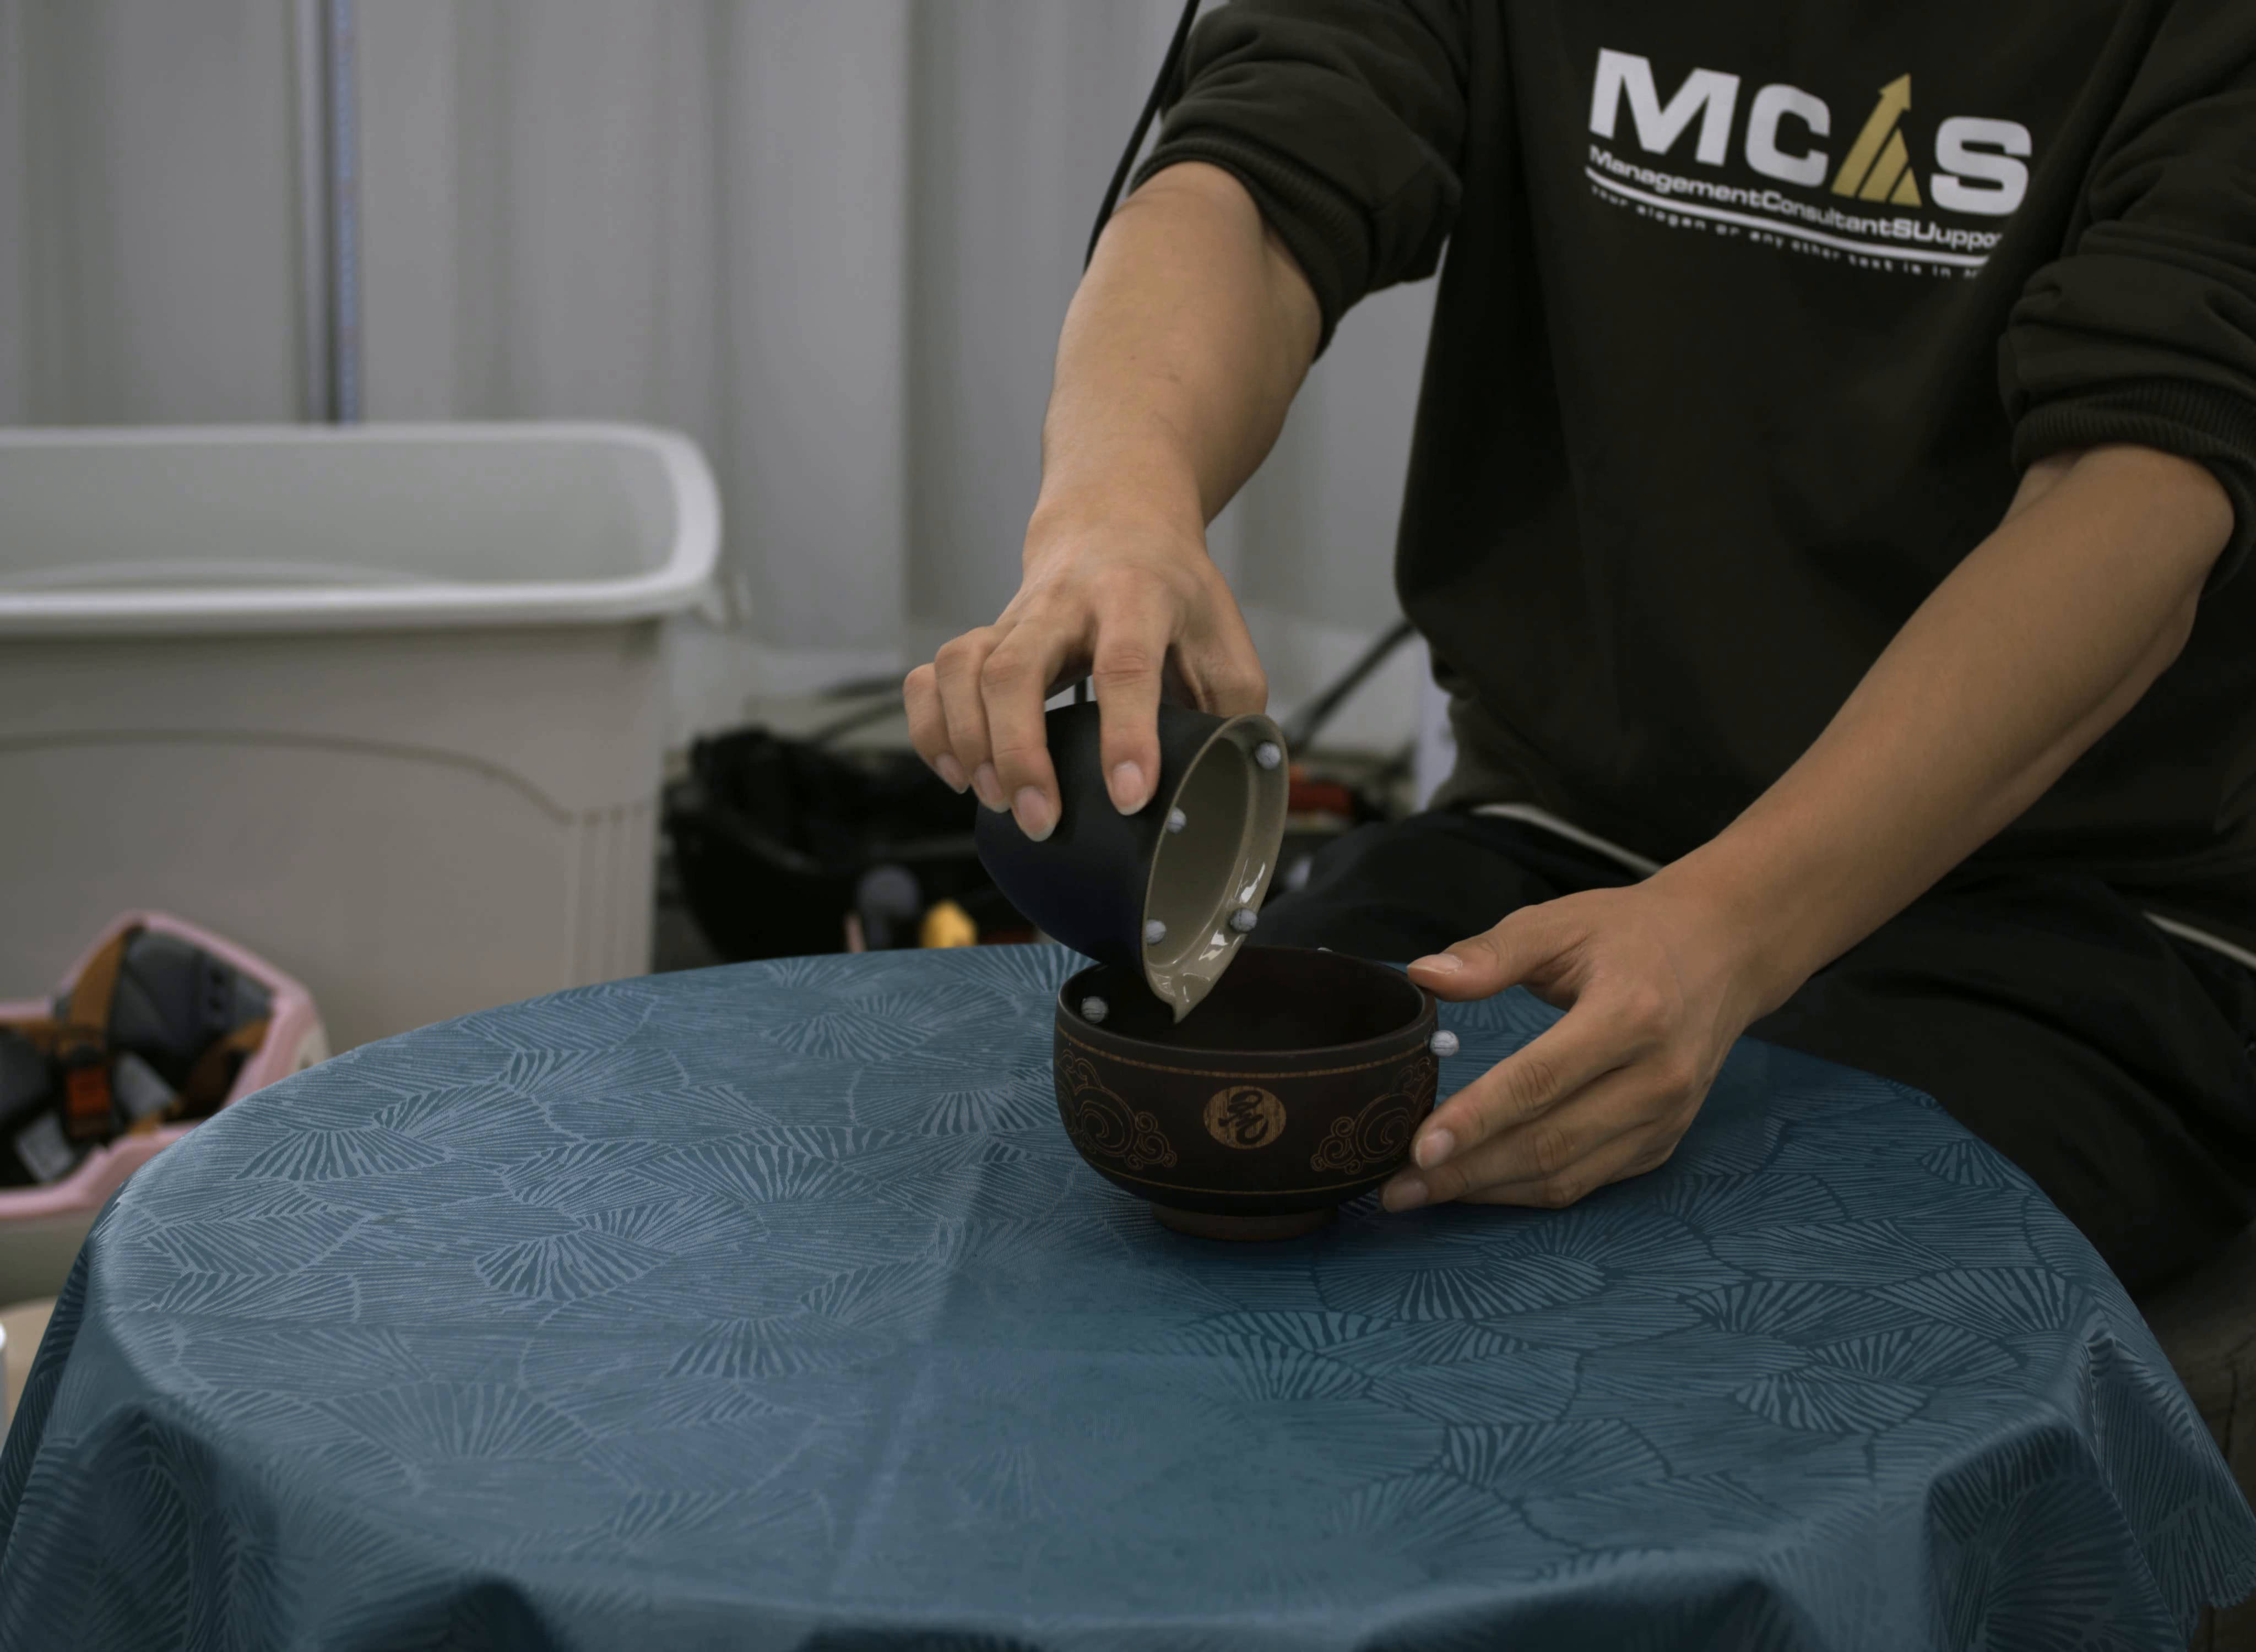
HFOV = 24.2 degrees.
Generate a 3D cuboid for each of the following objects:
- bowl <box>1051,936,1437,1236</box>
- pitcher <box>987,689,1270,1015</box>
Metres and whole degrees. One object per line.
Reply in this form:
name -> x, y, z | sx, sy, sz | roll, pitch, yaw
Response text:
bowl -> 0.036, 0.083, 1.605 | 0.117, 0.070, 0.117 | -1, 17, 1
pitcher -> -0.002, 0.002, 1.606 | 0.070, 0.096, 0.084 | 20, 14, 21
